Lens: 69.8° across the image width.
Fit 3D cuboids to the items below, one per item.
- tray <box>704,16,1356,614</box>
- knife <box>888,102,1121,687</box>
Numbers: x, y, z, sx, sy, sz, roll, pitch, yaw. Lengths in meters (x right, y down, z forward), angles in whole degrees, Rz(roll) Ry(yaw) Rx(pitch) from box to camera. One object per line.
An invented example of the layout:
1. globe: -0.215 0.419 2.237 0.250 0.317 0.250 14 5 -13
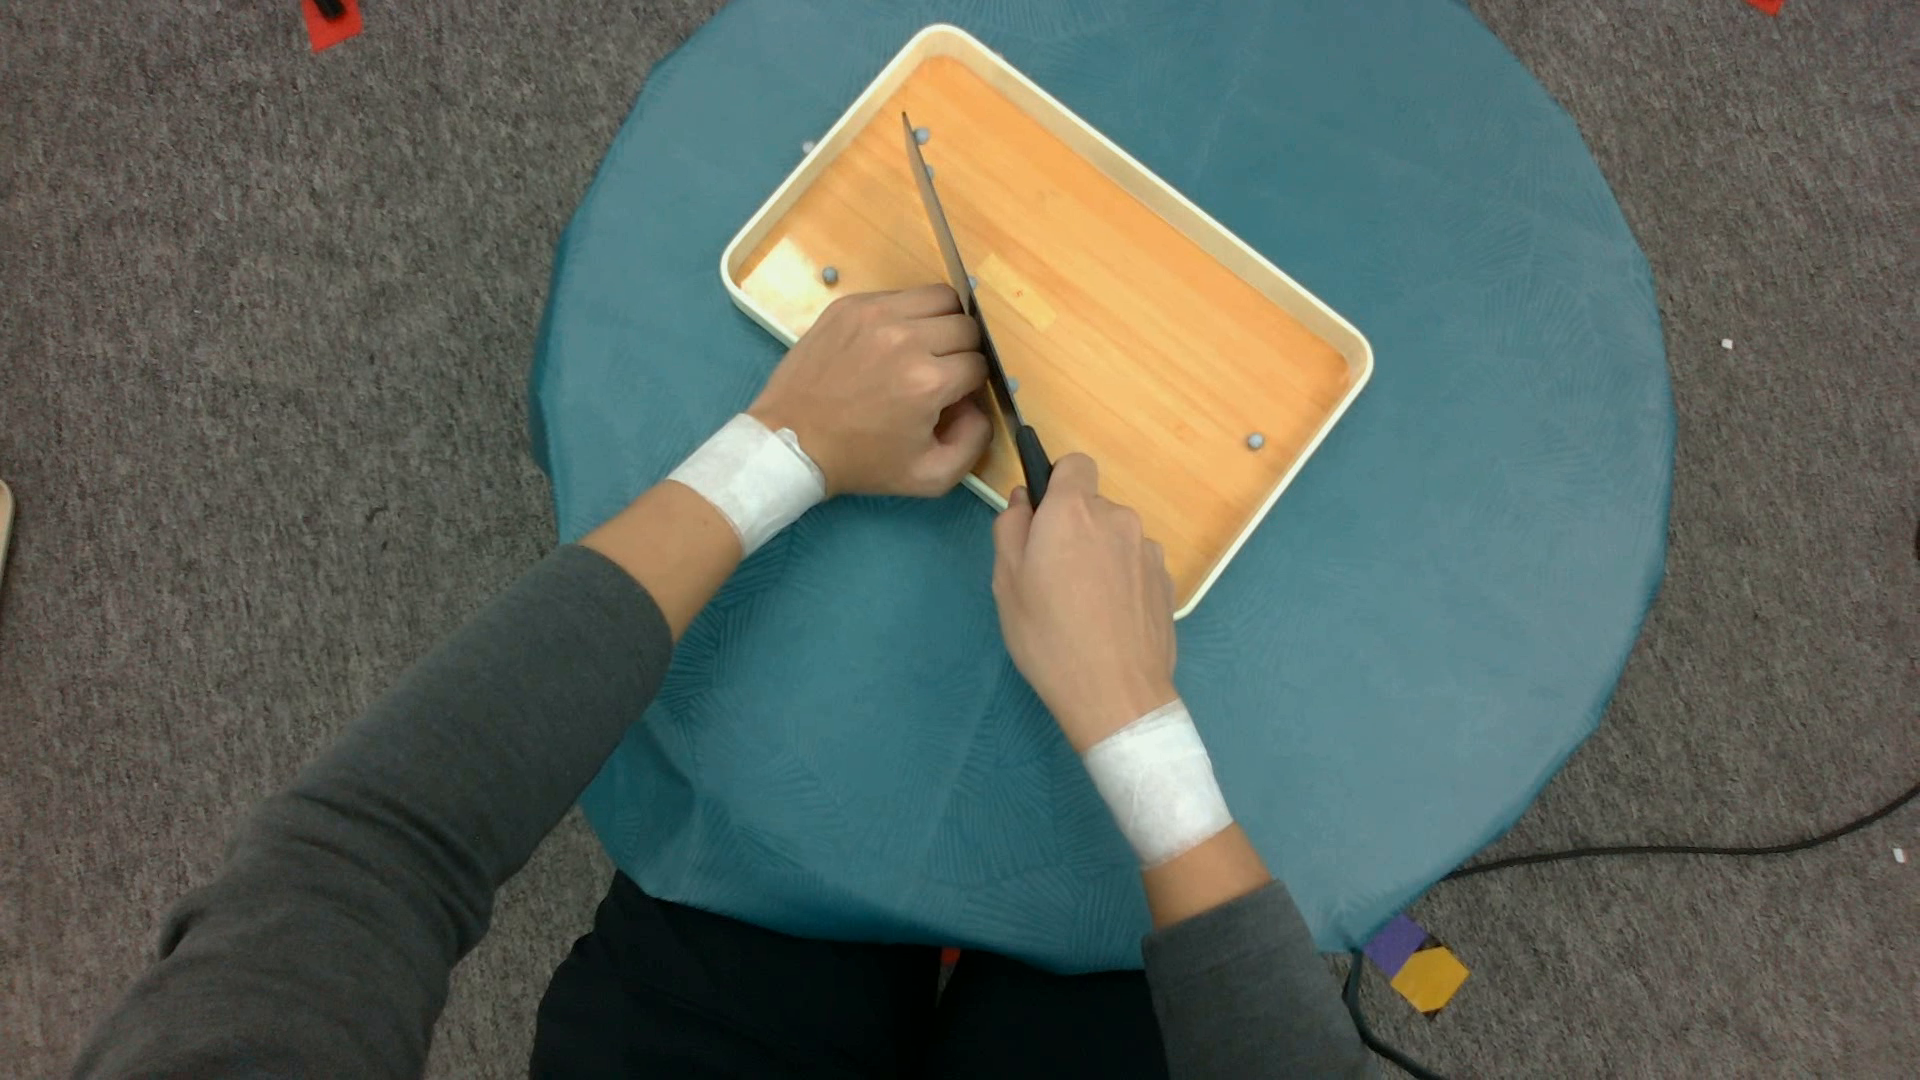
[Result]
1. tray: 0.037 -0.120 0.717 0.300 0.027 0.192 38 79 4
2. knife: 0.016 -0.072 0.672 0.021 0.081 0.303 -20 76 -3
